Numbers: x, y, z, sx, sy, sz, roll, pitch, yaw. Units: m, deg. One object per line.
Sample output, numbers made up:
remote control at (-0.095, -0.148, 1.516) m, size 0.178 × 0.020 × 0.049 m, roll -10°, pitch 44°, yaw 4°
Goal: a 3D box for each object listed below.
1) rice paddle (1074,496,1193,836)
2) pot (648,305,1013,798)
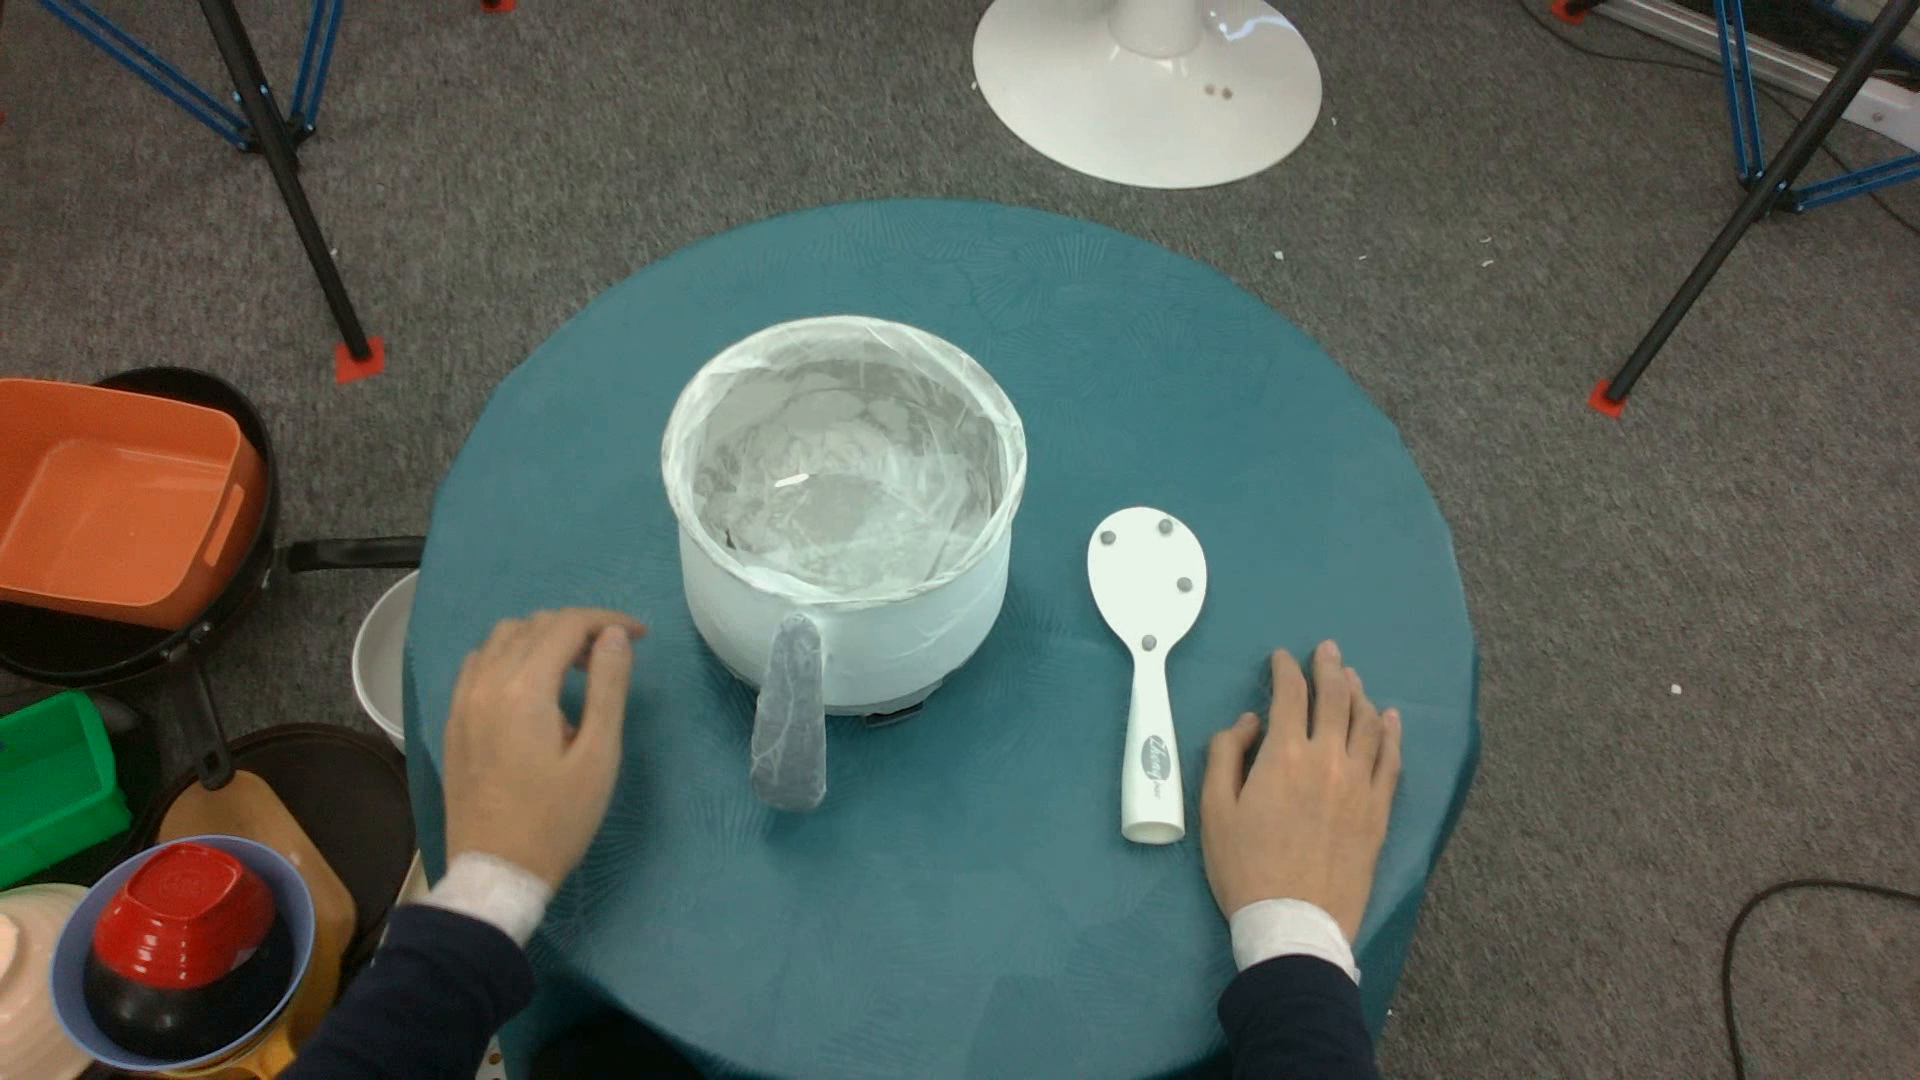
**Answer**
rice paddle at (0.096, 0.059, 0.752) m, size 0.069 × 0.029 × 0.206 m, roll 6°, pitch 57°, yaw -4°
pot at (-0.070, 0.008, 0.707) m, size 0.178 × 0.136 × 0.235 m, roll 9°, pitch 57°, yaw 2°
